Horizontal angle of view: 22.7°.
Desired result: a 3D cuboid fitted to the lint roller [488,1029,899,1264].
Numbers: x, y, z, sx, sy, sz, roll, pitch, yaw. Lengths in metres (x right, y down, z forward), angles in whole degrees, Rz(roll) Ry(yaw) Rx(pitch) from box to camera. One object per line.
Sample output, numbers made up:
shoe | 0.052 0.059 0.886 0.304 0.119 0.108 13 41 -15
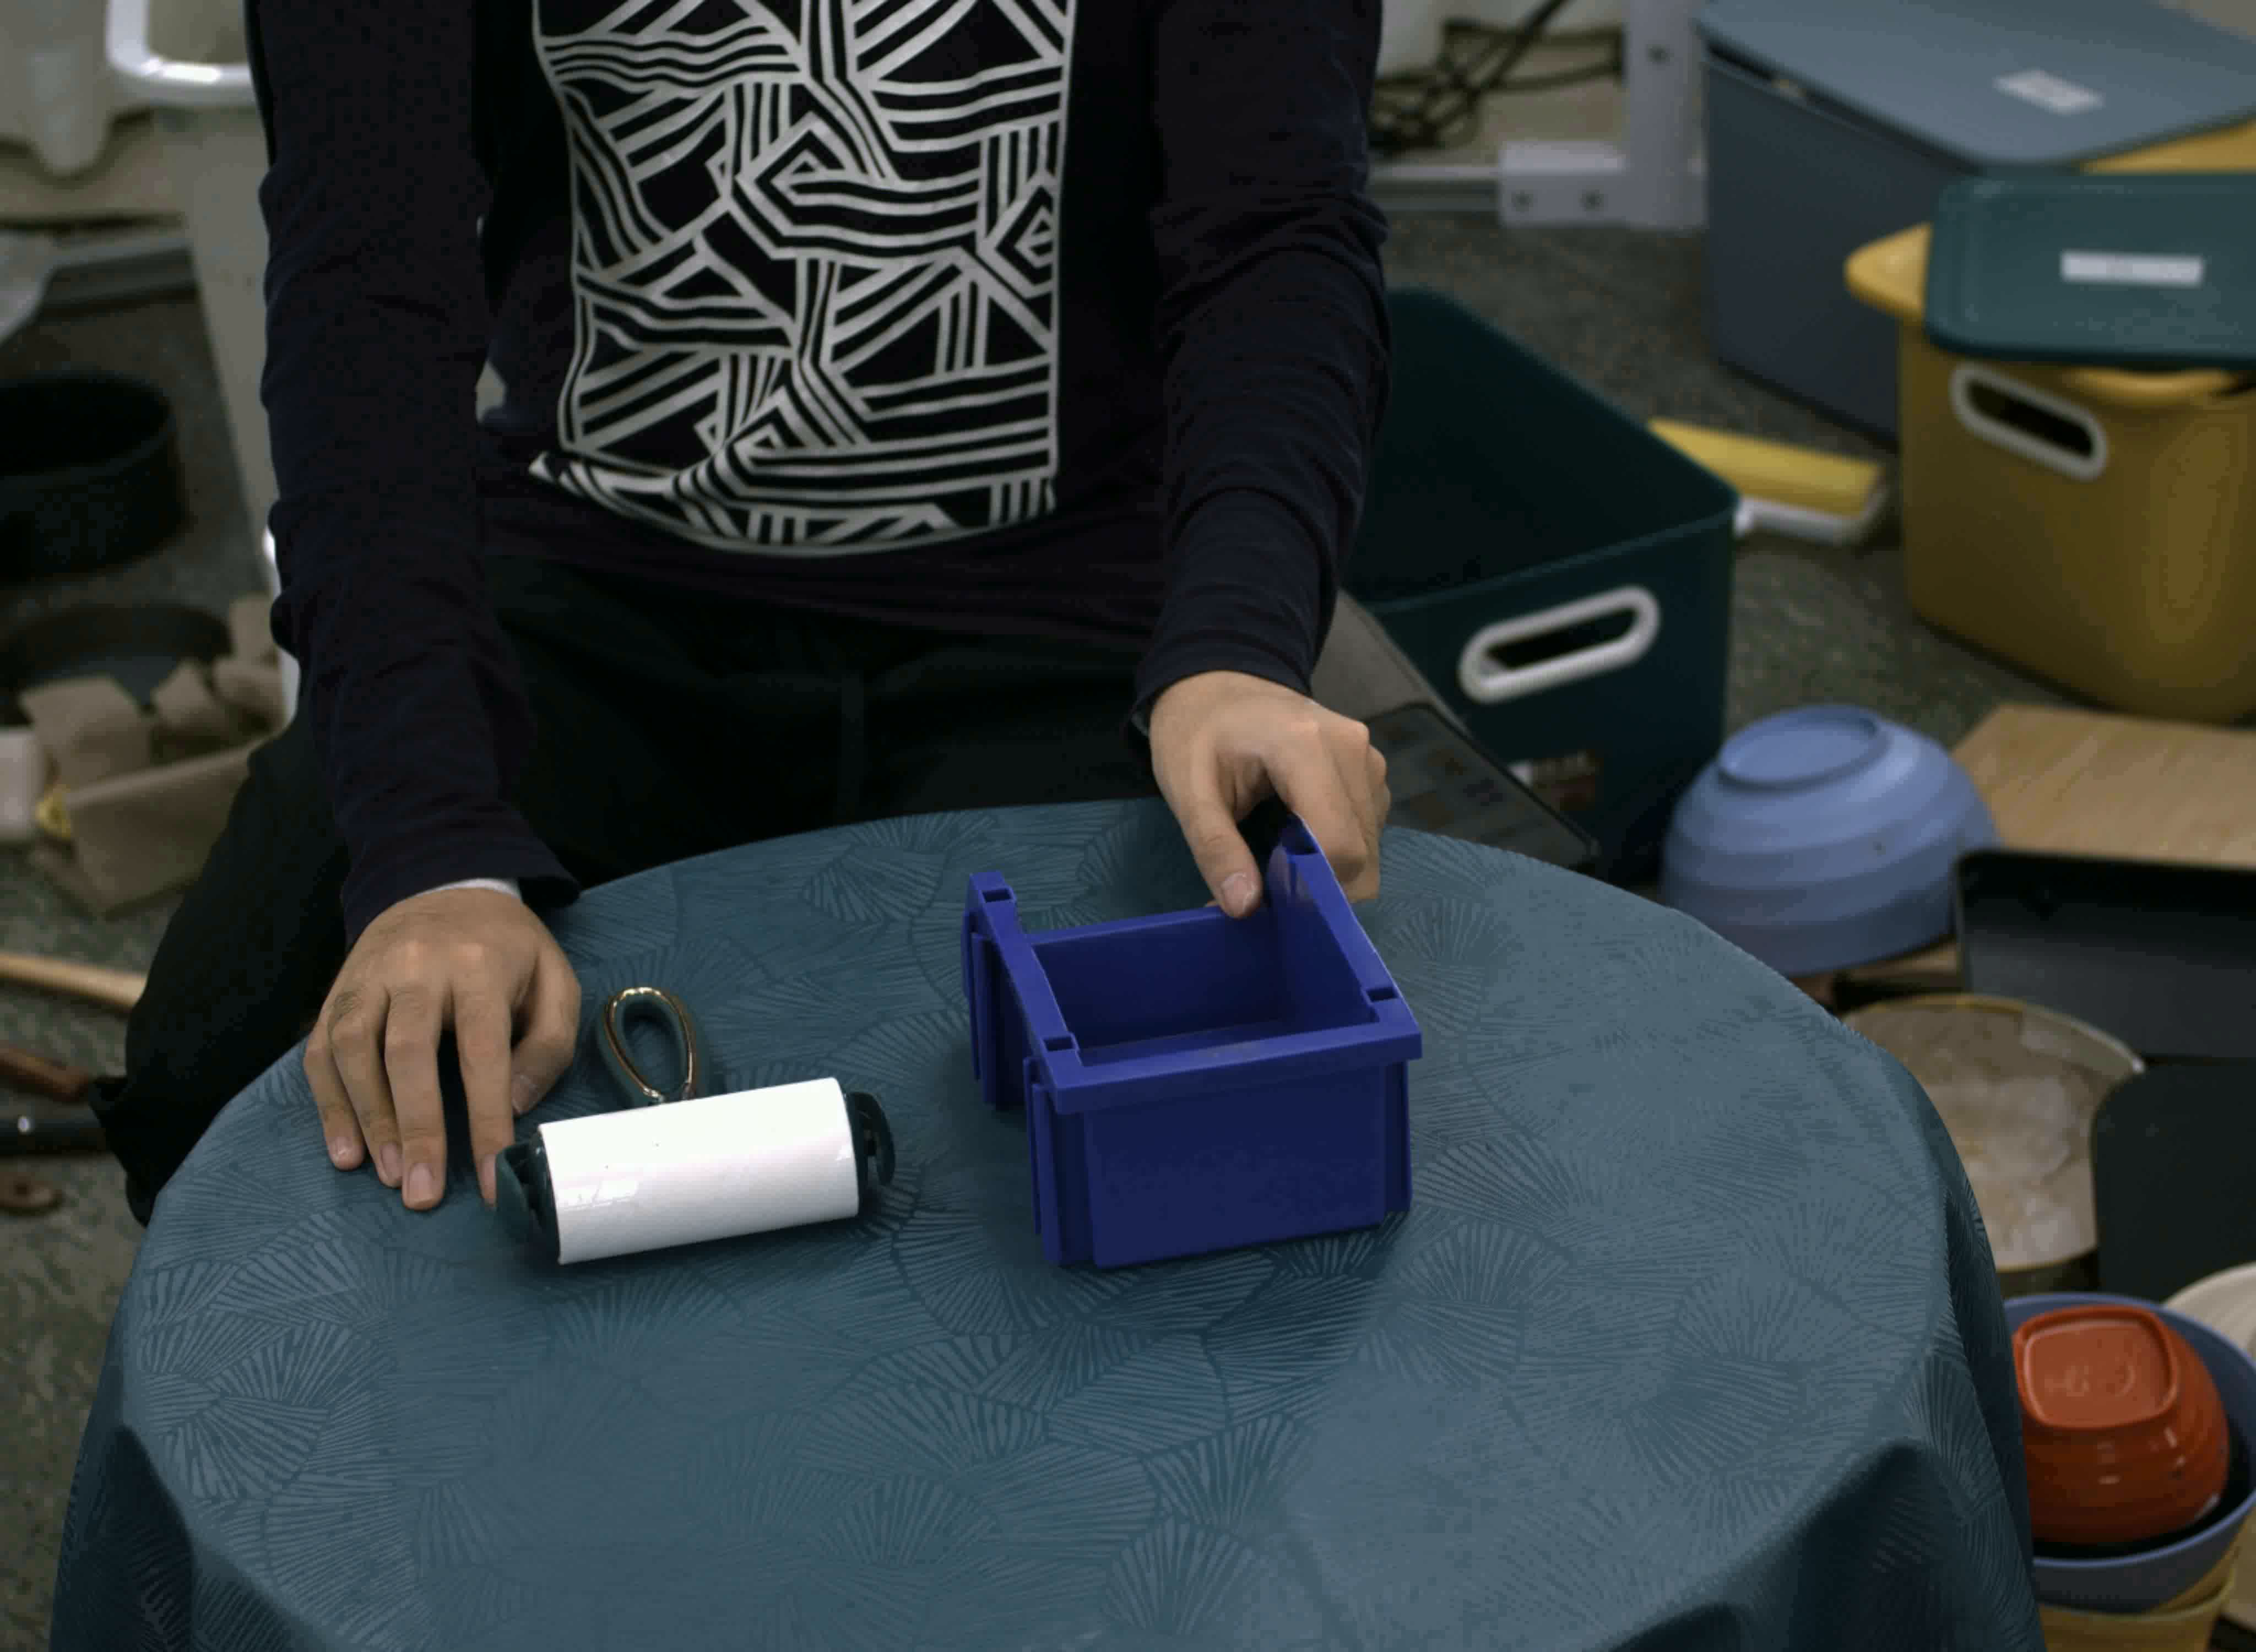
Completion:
lint roller | -0.157 0.088 1.901 0.134 0.048 0.182 -9 23 -10

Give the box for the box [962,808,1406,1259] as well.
box | 0.014 0.065 1.883 0.124 0.081 0.182 -8 30 -8
